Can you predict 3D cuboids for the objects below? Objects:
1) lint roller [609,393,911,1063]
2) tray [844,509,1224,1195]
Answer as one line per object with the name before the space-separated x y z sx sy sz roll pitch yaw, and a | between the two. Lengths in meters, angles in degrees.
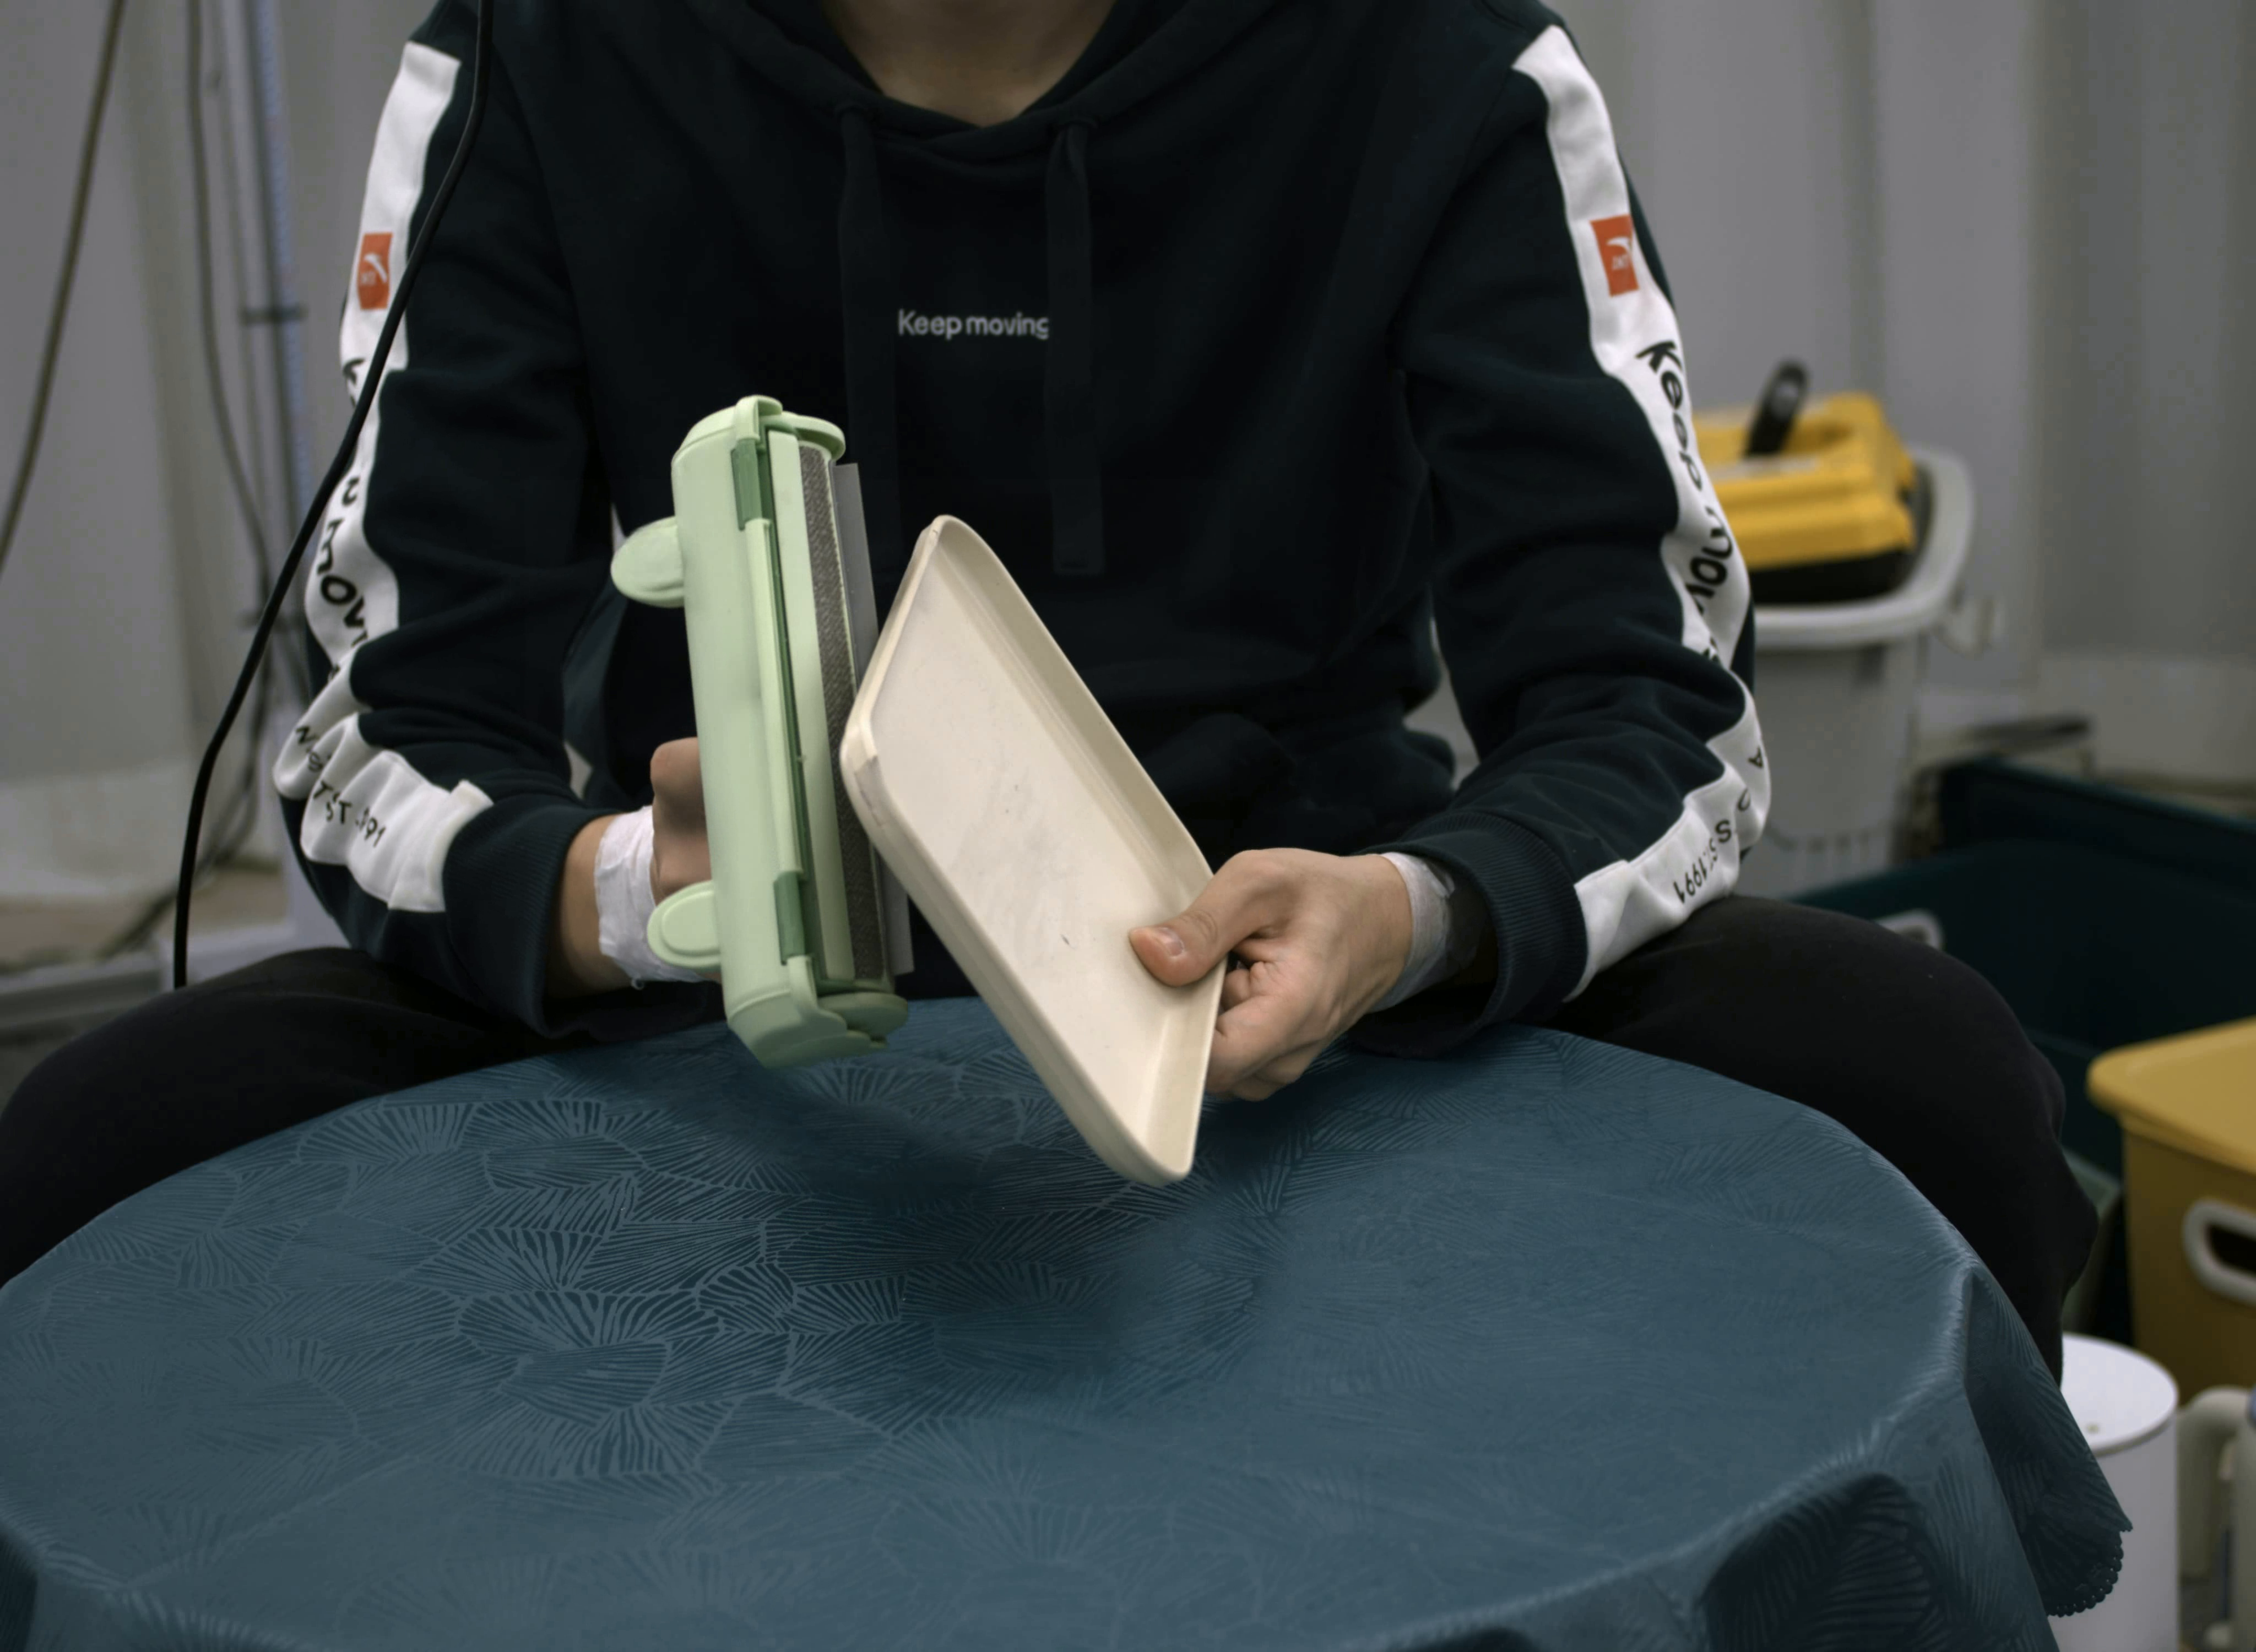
lint roller | -0.119 -0.012 1.687 0.082 0.201 0.182 -3 -18 -14
tray | -0.027 0.006 1.662 0.017 0.170 0.242 -29 15 15
